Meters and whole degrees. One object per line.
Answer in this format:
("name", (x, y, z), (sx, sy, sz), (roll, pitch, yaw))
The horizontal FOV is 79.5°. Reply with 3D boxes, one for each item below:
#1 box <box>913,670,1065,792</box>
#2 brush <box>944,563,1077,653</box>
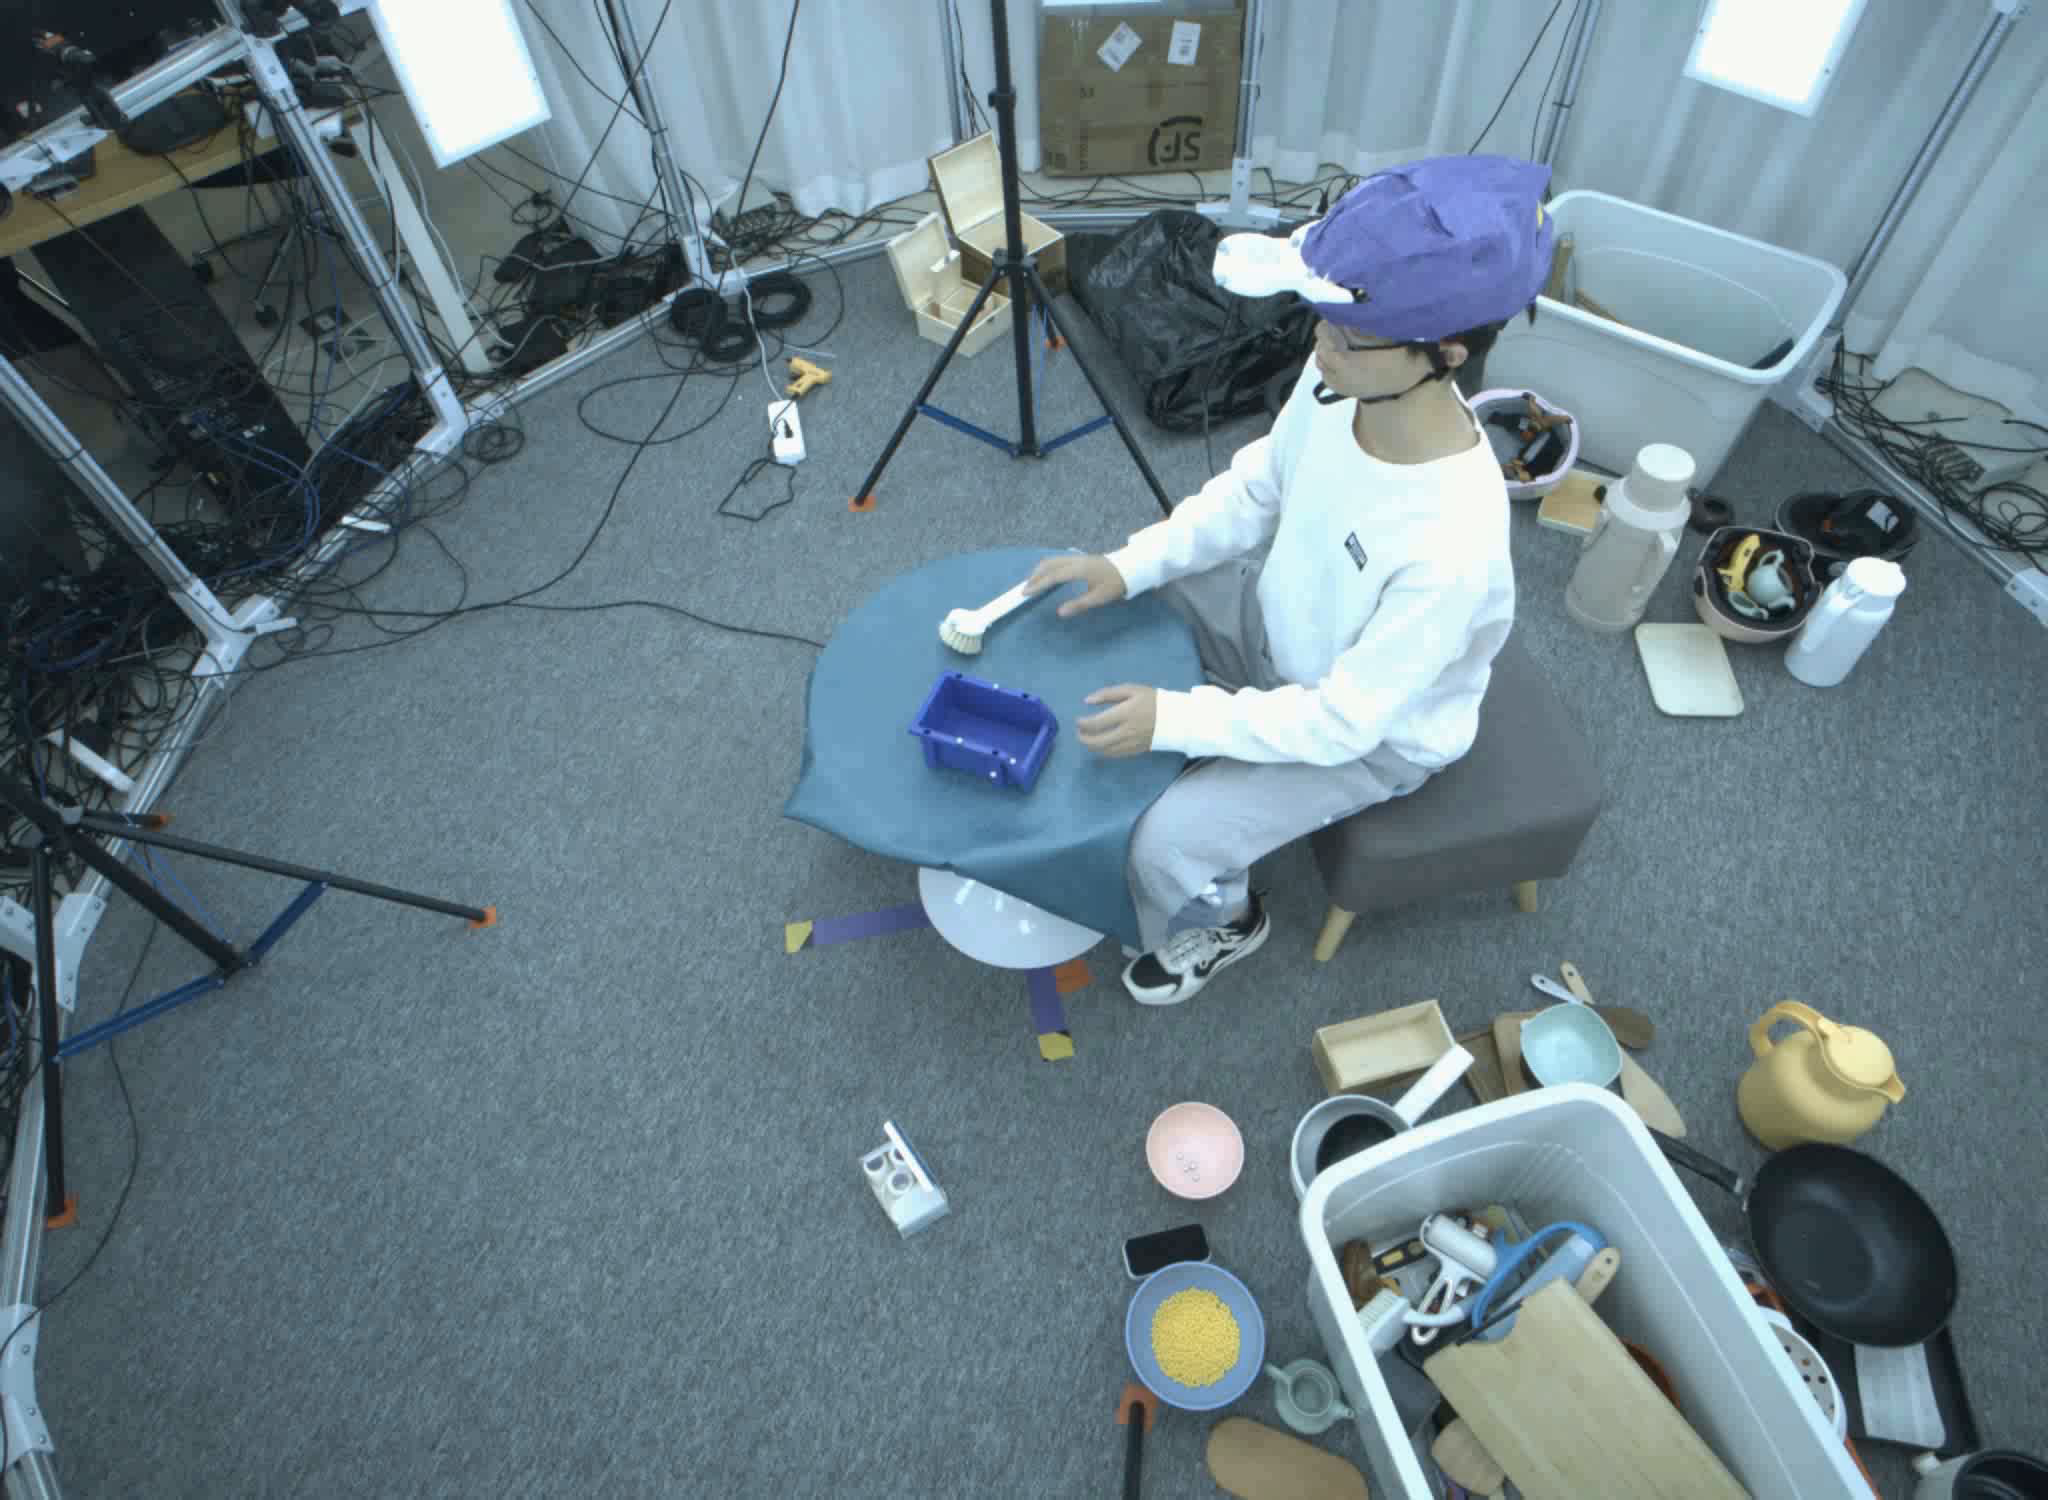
("box", (-0.047, -0.025, 1.754), (0.177, 0.083, 0.124), (17, 56, 16))
("brush", (-0.017, -0.227, 1.937), (0.270, 0.056, 0.068), (-32, 72, -36))
